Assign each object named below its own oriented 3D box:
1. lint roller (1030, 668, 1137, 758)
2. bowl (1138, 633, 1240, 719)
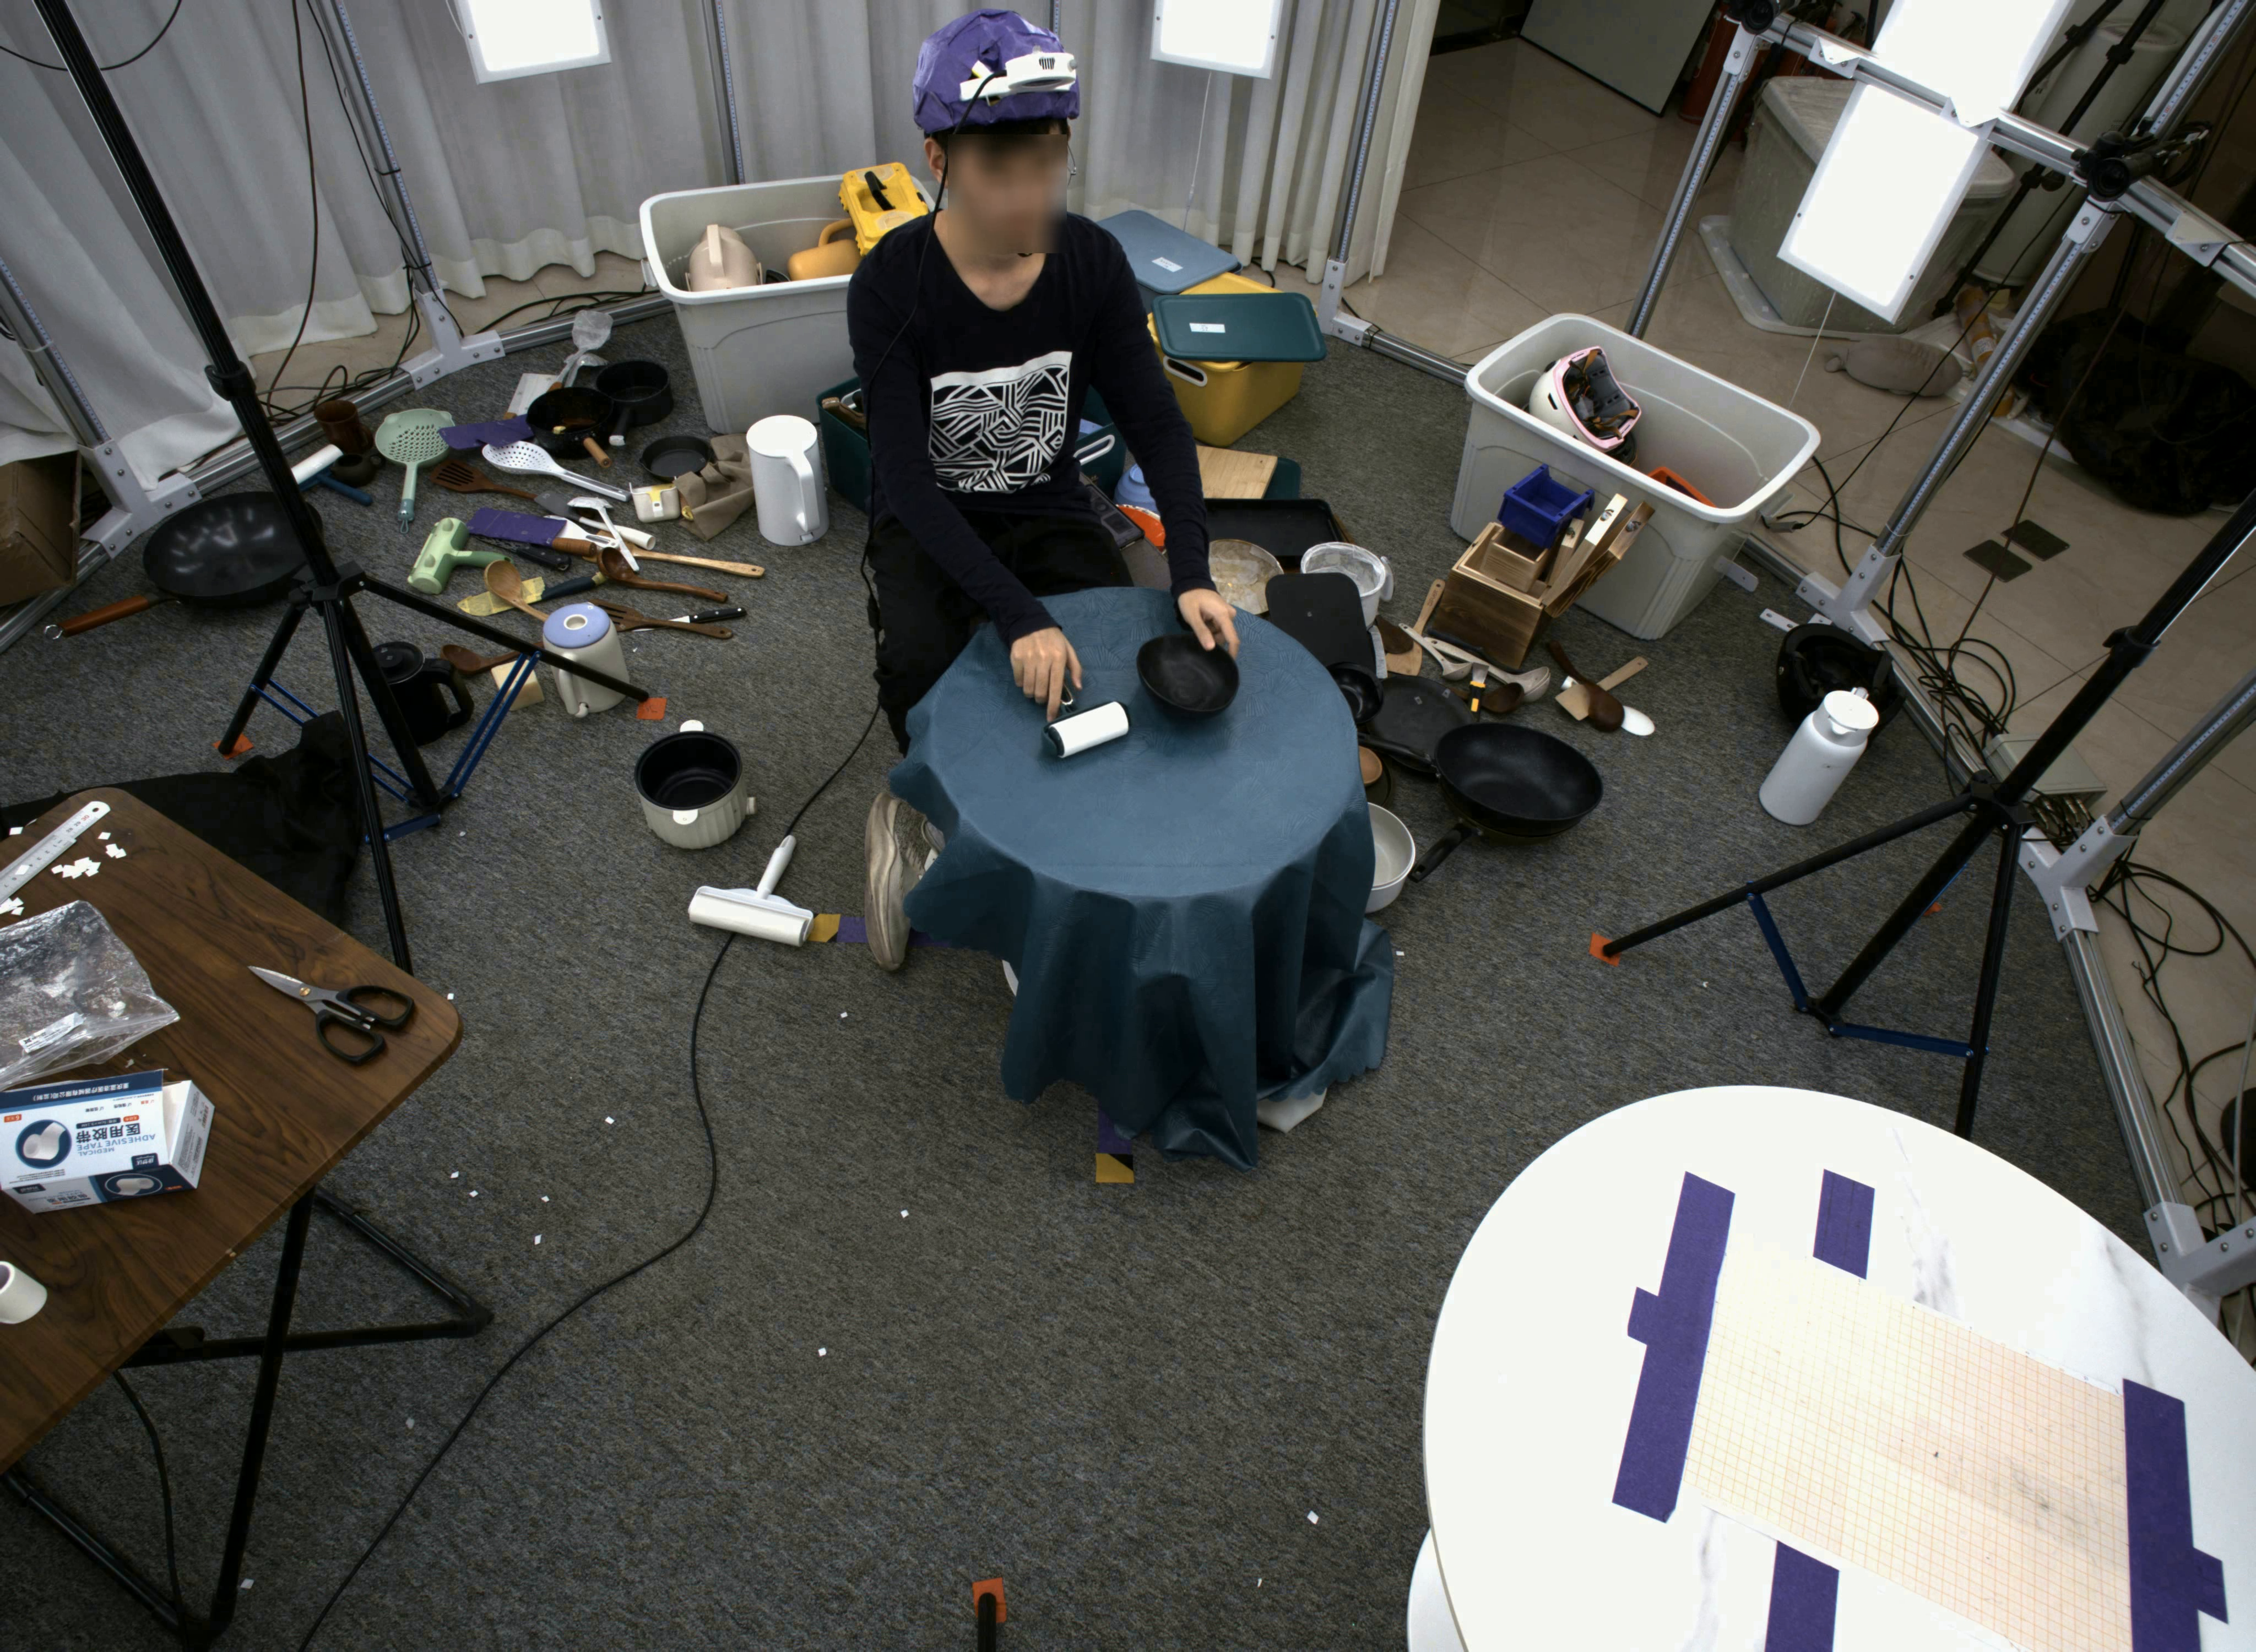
[{"bbox_3d":[-0.087,-0.177,1.784,0.135,0.047,0.184,-22,54,-21],"label":"lint roller"},{"bbox_3d":[0.081,-0.202,1.806,0.137,0.065,0.174,-18,51,-19],"label":"bowl"}]
